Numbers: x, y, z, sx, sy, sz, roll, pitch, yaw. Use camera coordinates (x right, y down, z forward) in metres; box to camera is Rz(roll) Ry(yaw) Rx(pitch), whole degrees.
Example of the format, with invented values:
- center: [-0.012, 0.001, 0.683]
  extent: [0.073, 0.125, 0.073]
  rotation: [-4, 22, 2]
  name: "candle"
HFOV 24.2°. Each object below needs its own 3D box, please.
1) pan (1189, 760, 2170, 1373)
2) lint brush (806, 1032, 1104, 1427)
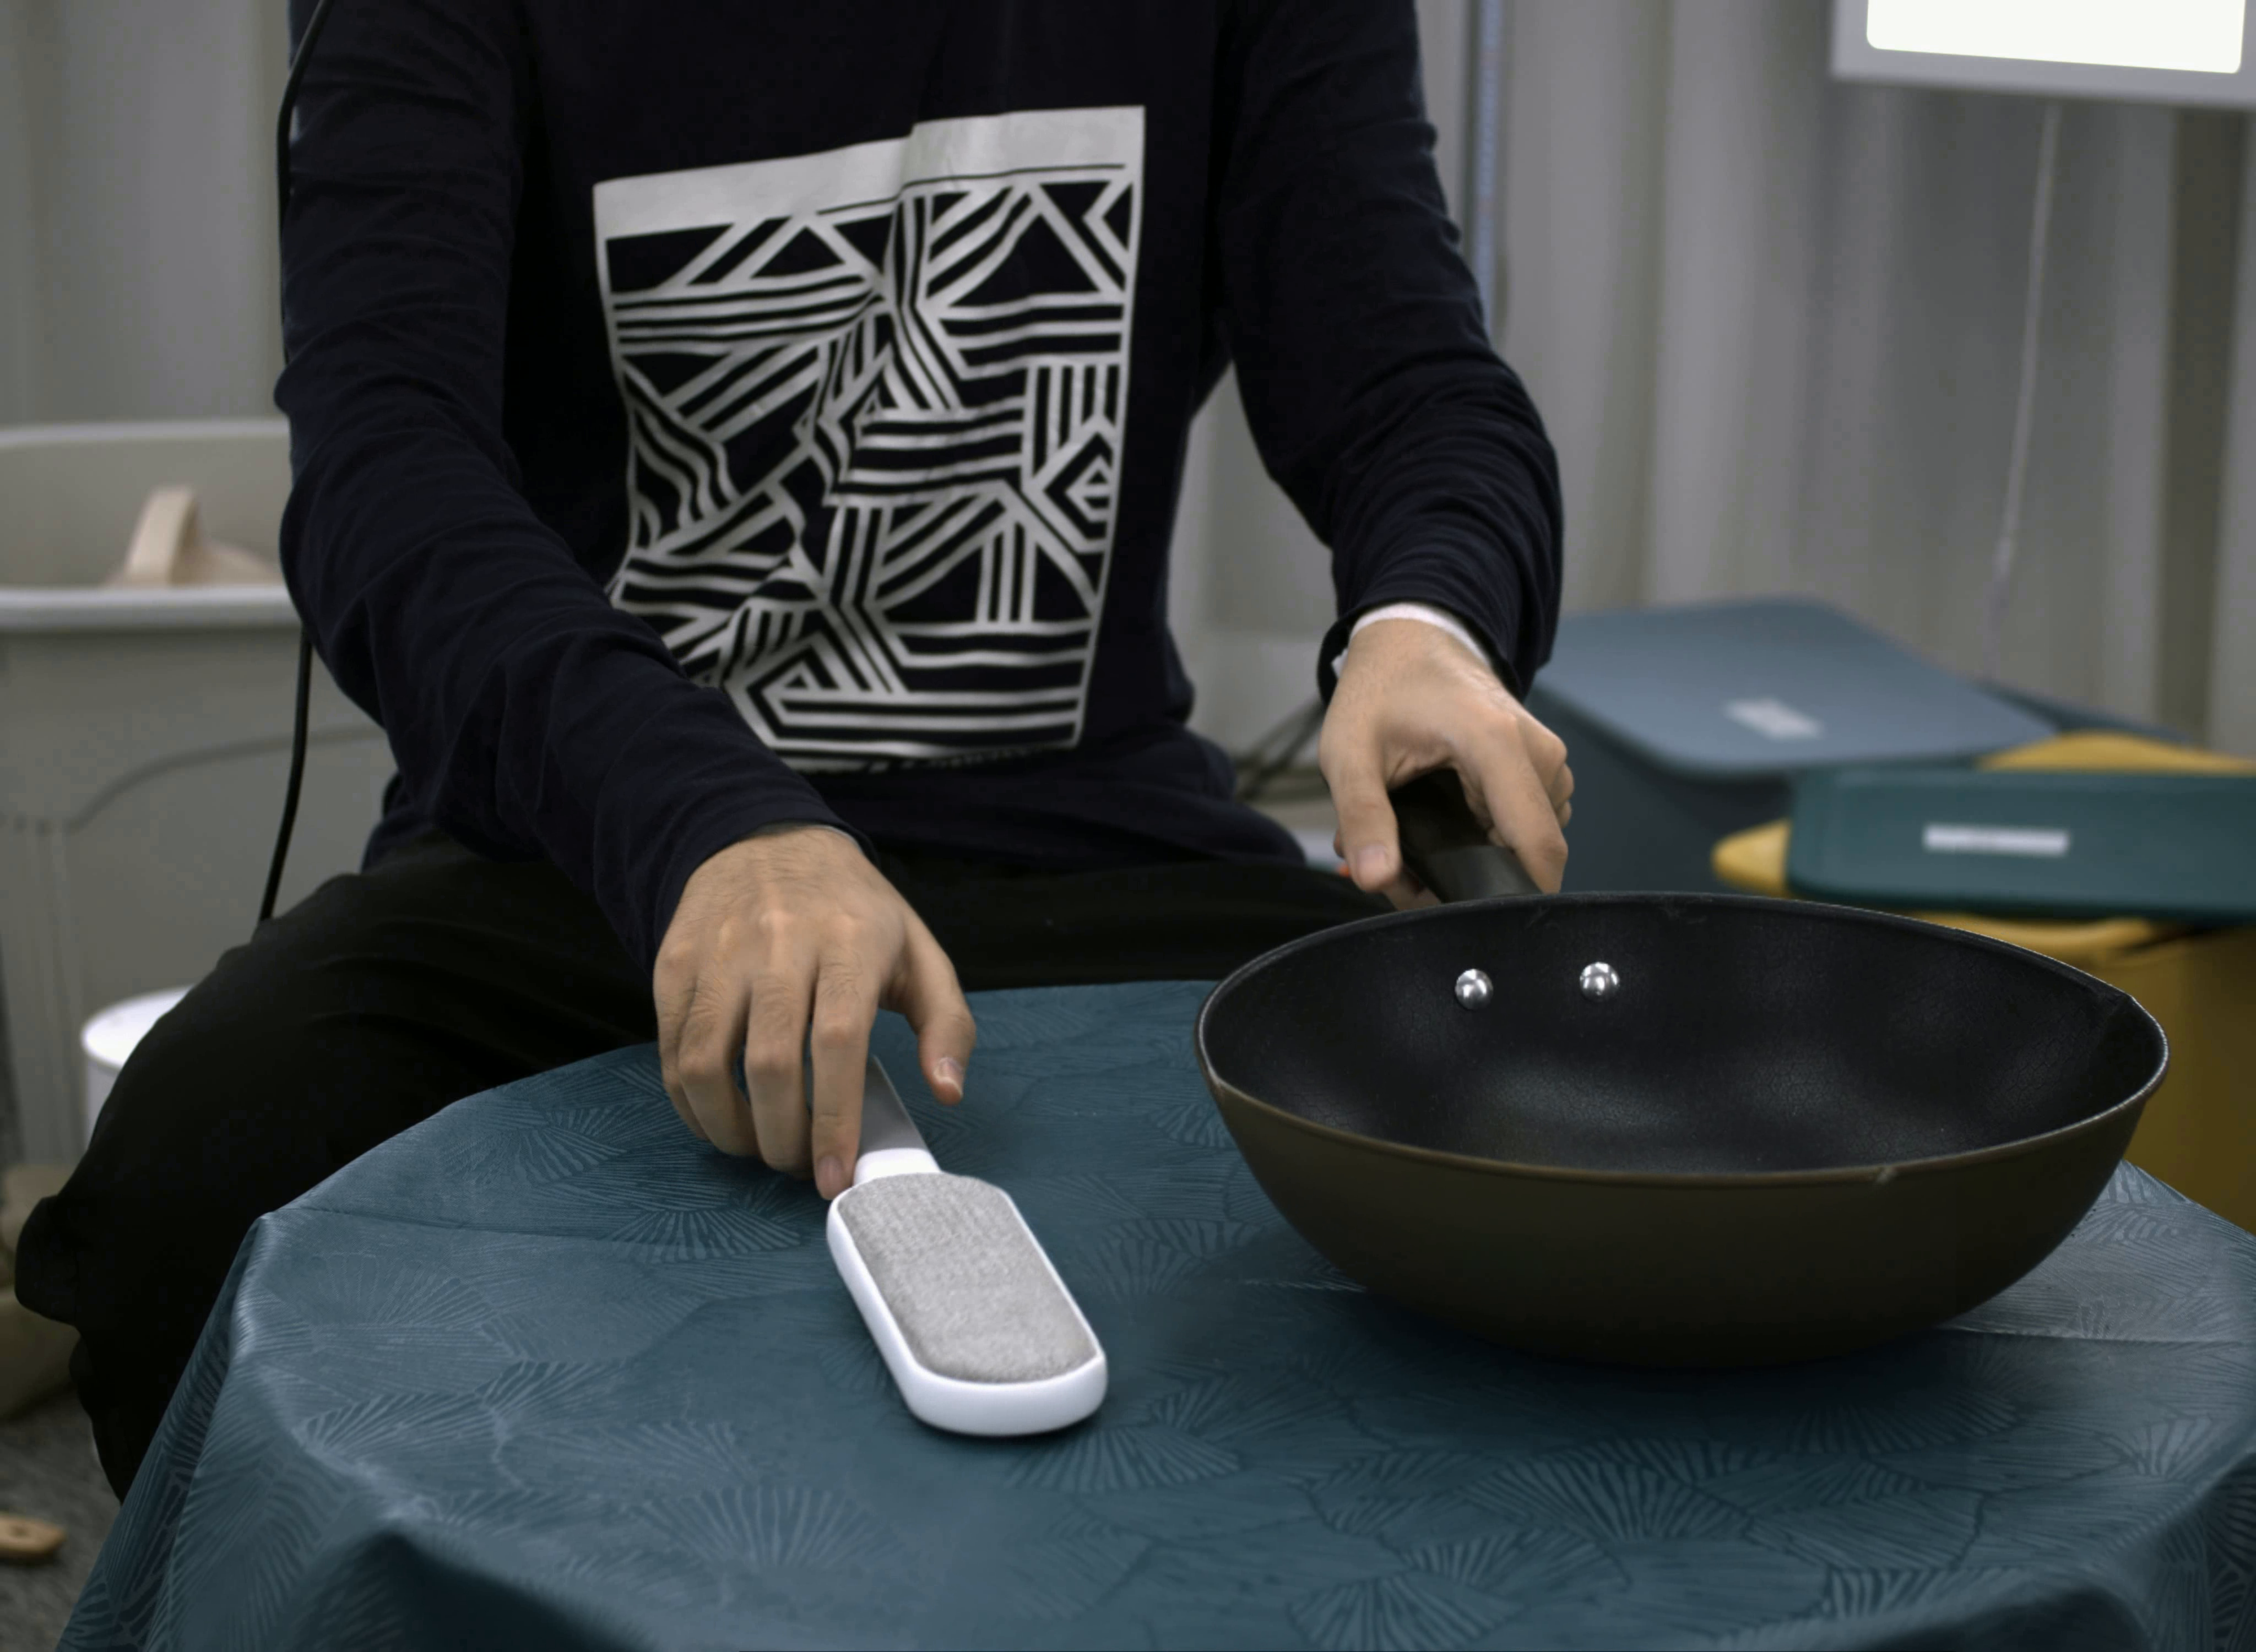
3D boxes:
- center: [0.136, 0.071, 1.622]
  extent: [0.288, 0.087, 0.459]
  rotation: [-3, 16, -14]
  name: "pan"
- center: [-0.060, 0.114, 1.559]
  extent: [0.060, 0.021, 0.306]
  rotation: [-10, 17, -10]
  name: "lint brush"
